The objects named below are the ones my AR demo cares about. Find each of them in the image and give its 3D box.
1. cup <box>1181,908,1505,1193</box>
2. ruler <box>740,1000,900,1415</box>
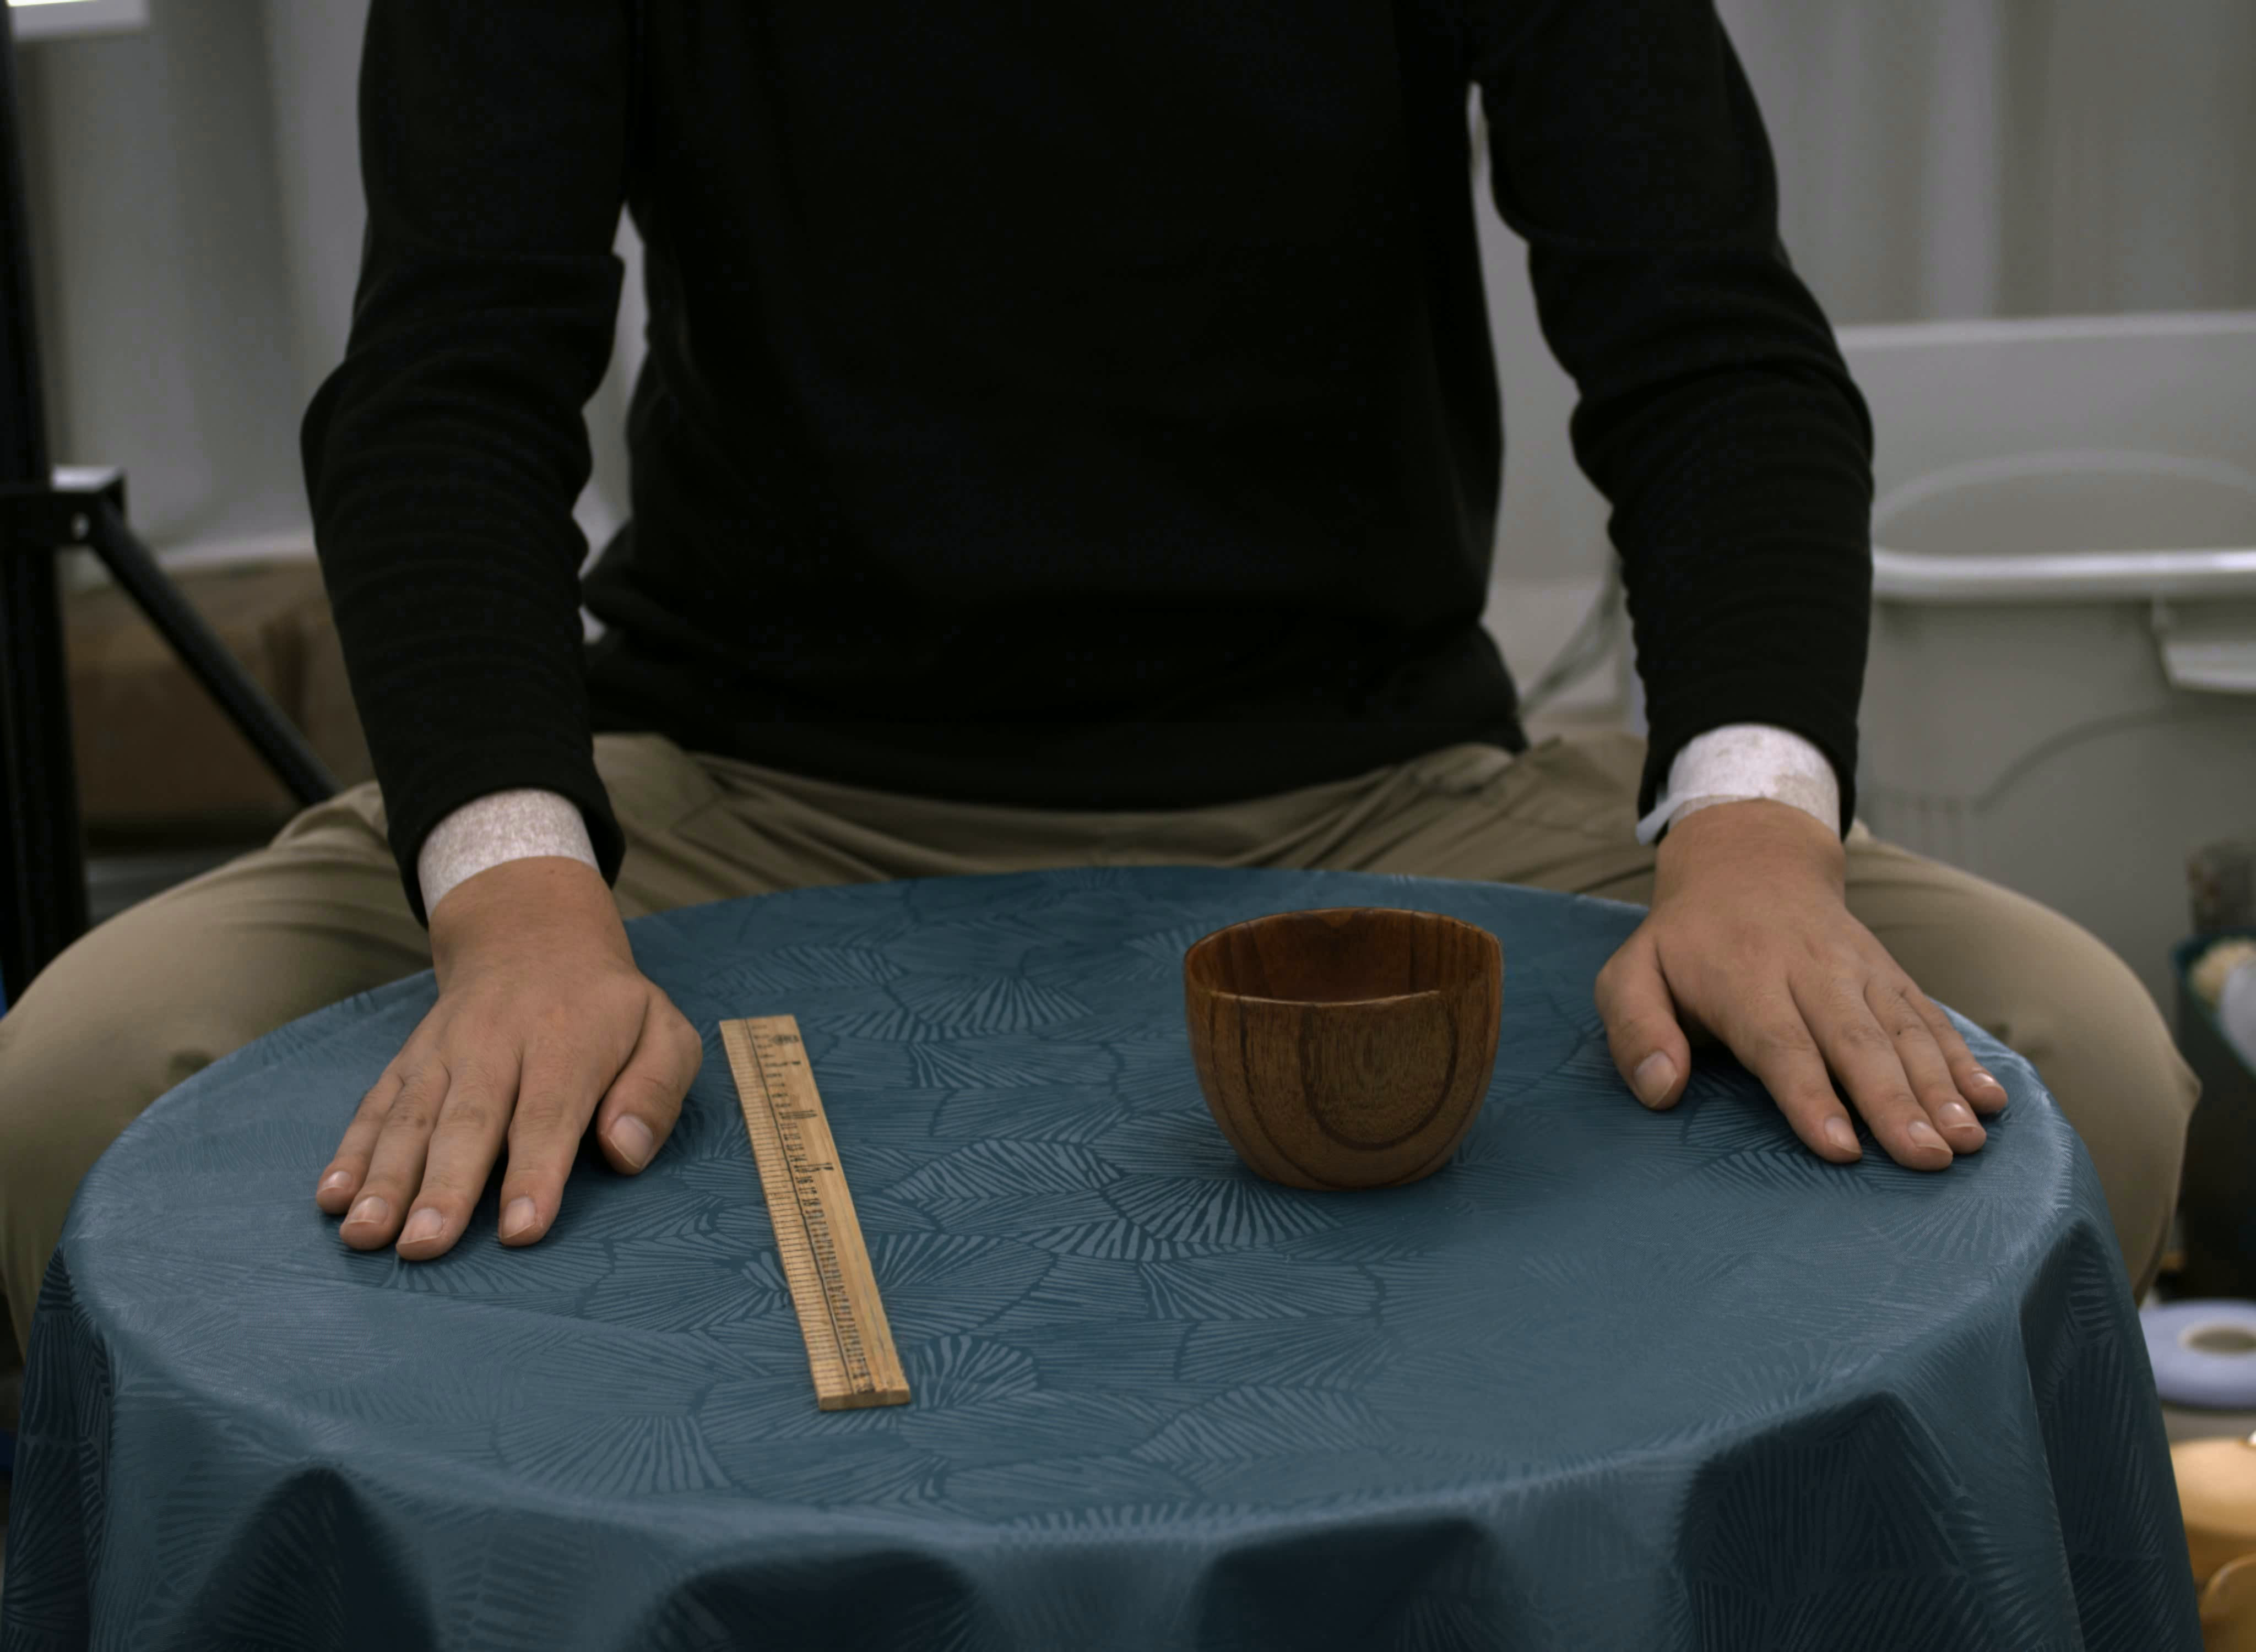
[{"bbox_3d":[0.065,0.065,1.579,0.096,0.068,0.120,-4,14,1],"label":"cup"},{"bbox_3d":[-0.093,0.105,1.565,0.027,0.022,0.335,1,16,-7],"label":"ruler"}]
